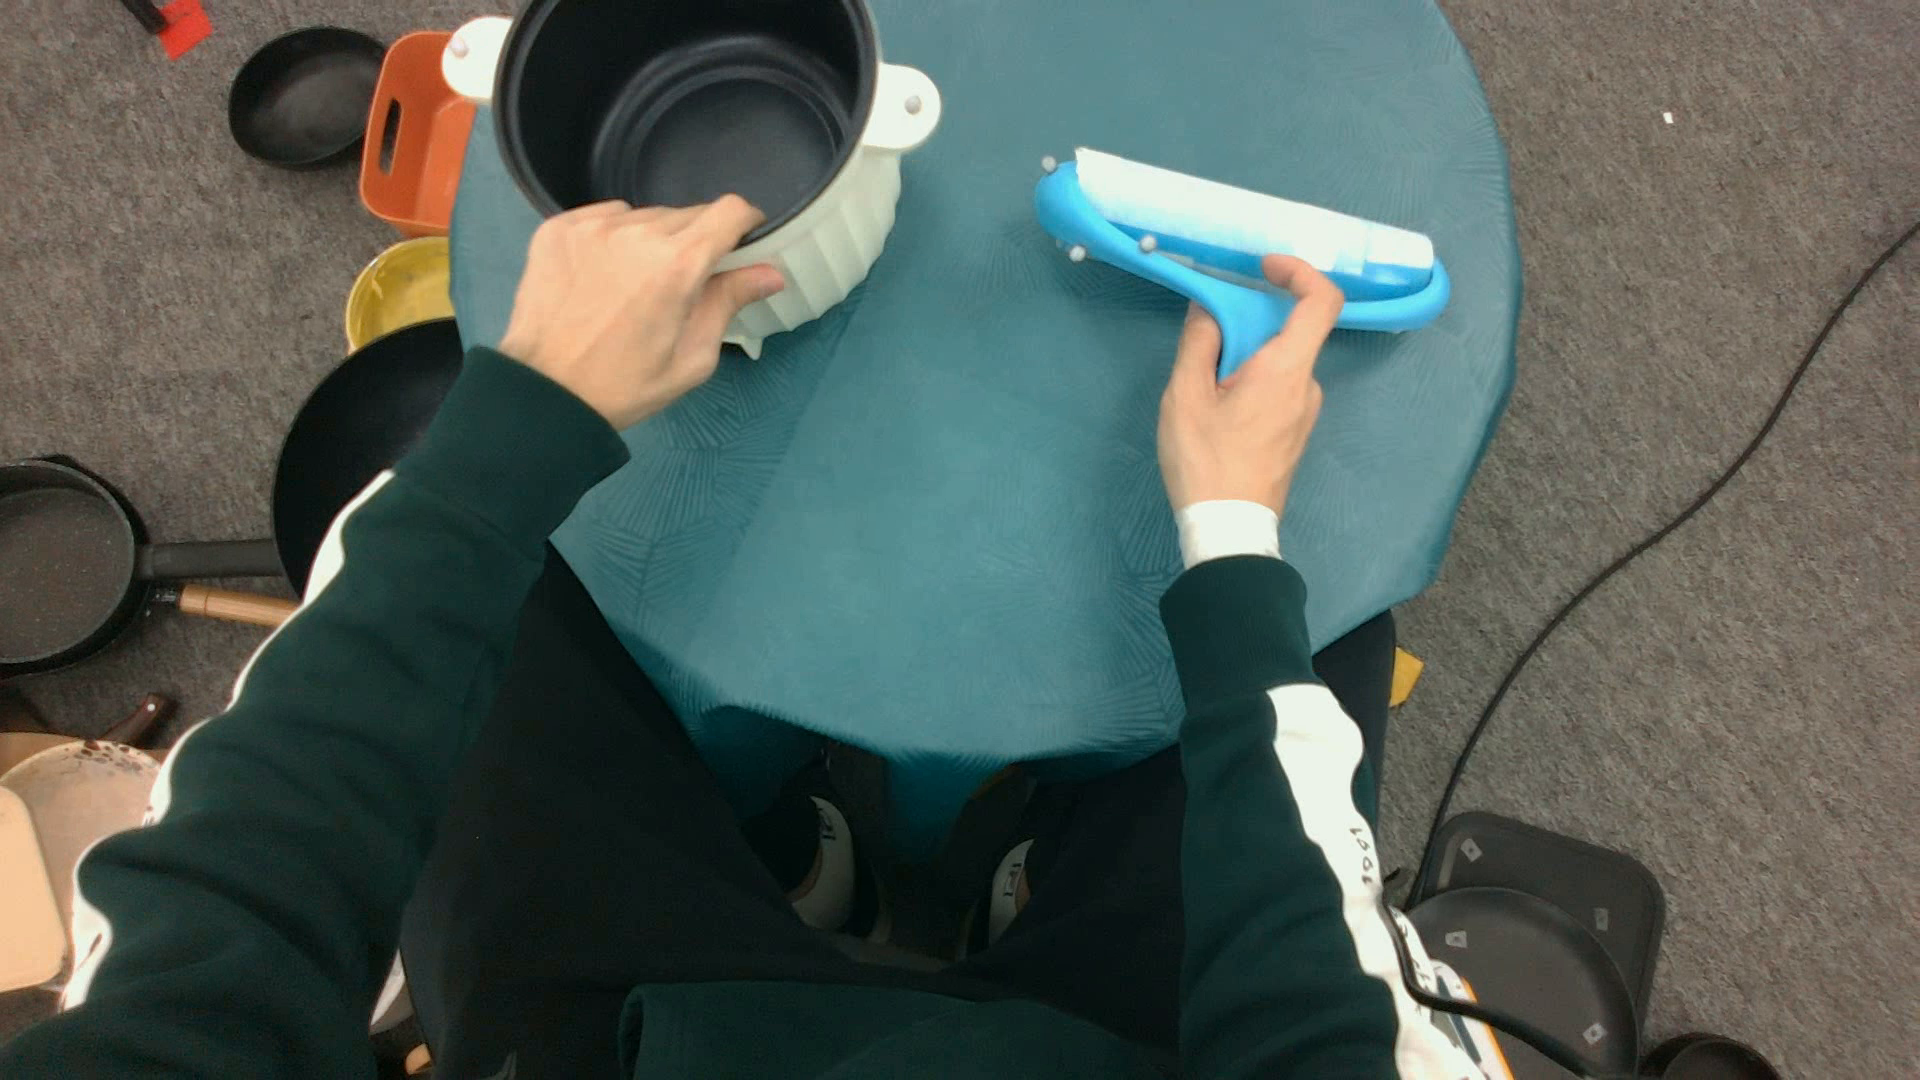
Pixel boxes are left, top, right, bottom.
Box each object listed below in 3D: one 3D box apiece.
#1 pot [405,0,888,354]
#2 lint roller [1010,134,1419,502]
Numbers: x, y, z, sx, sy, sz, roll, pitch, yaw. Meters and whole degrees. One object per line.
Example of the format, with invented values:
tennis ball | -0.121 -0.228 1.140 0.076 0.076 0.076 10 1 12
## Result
pot | -0.137 -0.202 0.696 0.240 0.142 0.191 3 81 11
lint roller | 0.134 -0.113 0.717 0.229 0.067 0.181 8 71 -14
